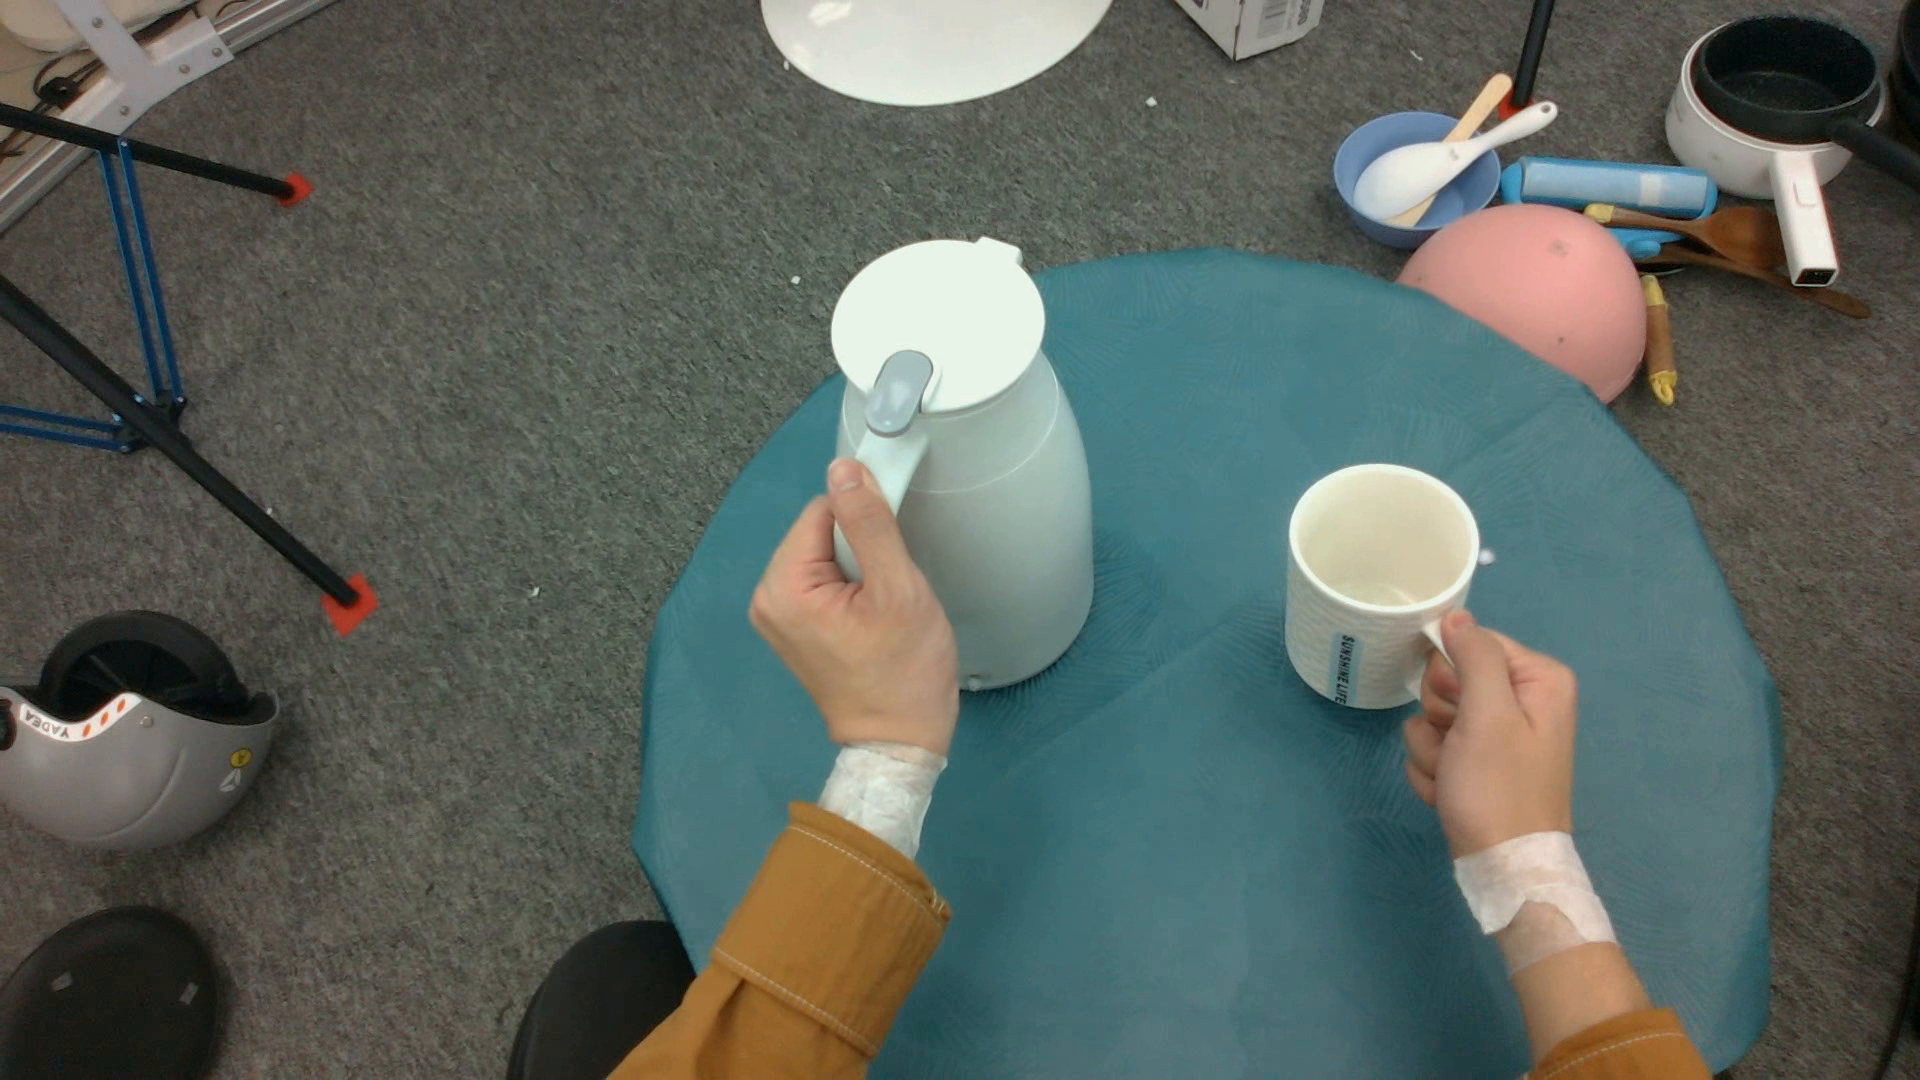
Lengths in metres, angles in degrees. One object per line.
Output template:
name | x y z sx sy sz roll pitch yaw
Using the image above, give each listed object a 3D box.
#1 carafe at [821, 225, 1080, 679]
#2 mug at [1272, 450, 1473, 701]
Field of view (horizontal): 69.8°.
carafe | -0.013 -0.025 0.674 0.132 0.247 0.168 19 64 14
mug | 0.208 0.030 0.685 0.085 0.101 0.118 -28 55 -9
